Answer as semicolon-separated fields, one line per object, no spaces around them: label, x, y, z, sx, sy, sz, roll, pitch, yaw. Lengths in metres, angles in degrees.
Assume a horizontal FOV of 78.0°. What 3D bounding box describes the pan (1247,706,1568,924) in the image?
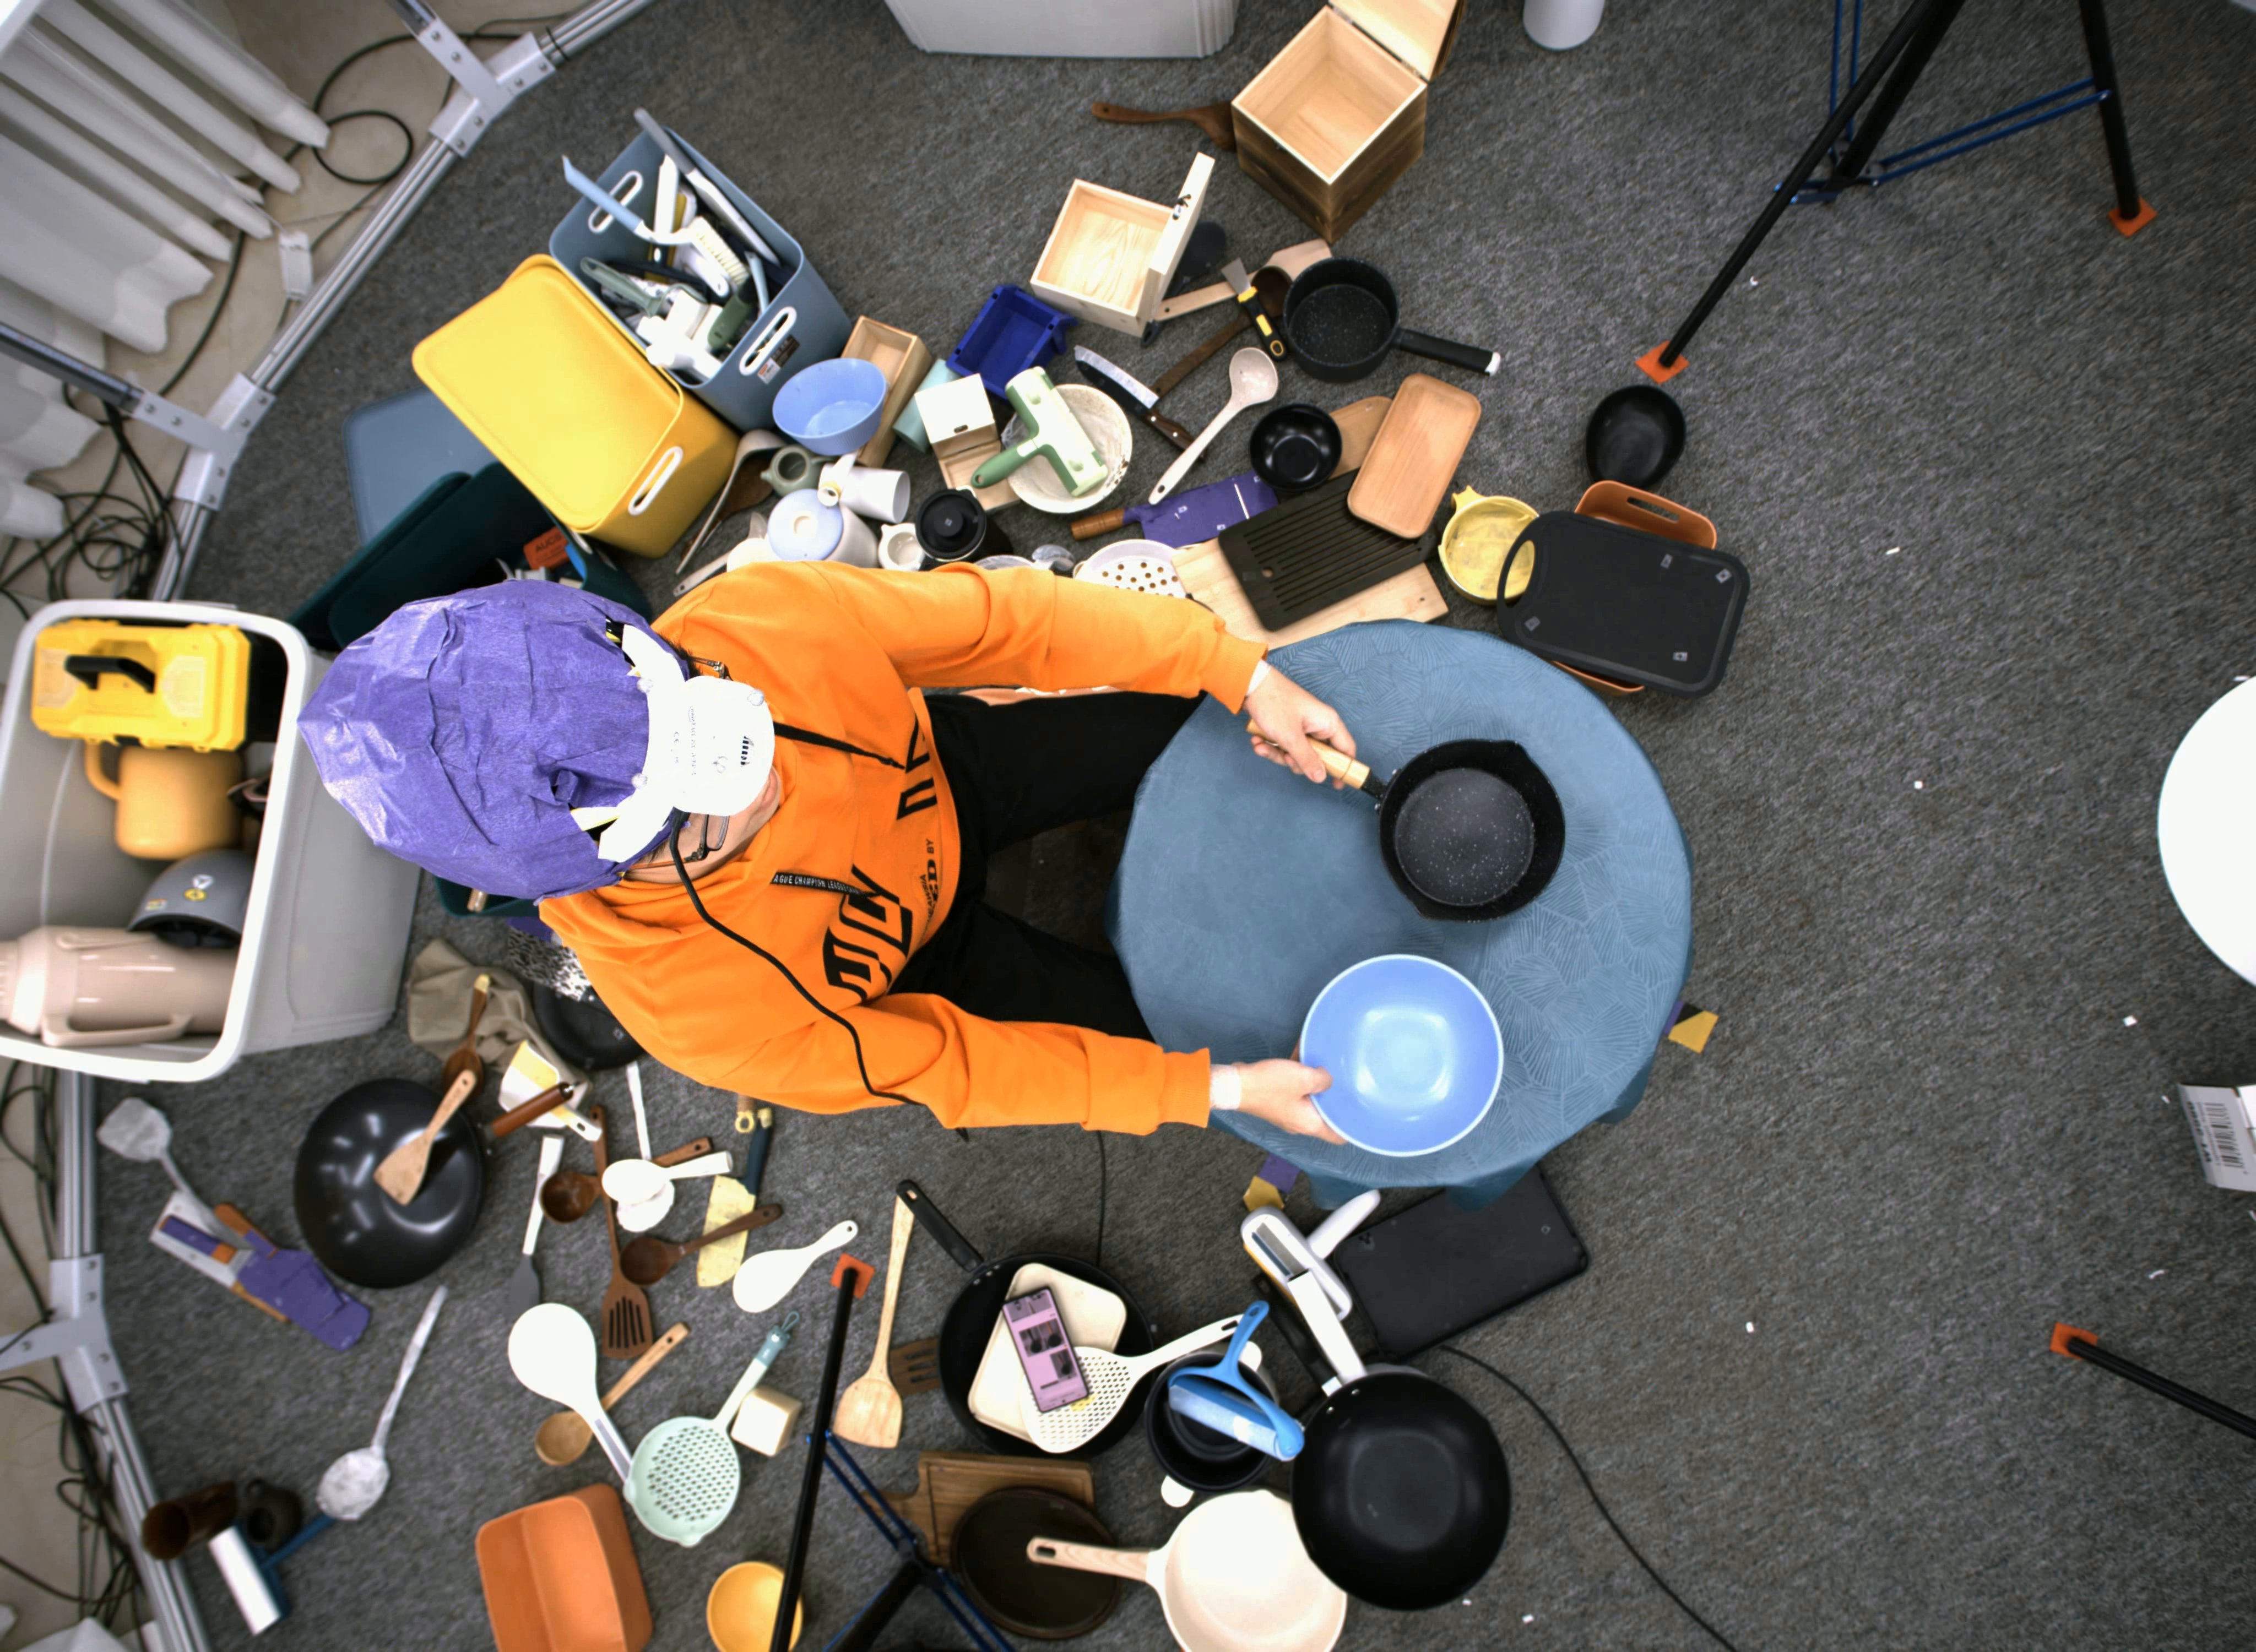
pan;0.276;-0.029;1.407;0.342;0.108;0.208;27;93;8

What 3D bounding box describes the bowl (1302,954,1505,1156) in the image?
bowl;0.278;0.229;1.394;0.197;0.096;0.195;-2;81;13
